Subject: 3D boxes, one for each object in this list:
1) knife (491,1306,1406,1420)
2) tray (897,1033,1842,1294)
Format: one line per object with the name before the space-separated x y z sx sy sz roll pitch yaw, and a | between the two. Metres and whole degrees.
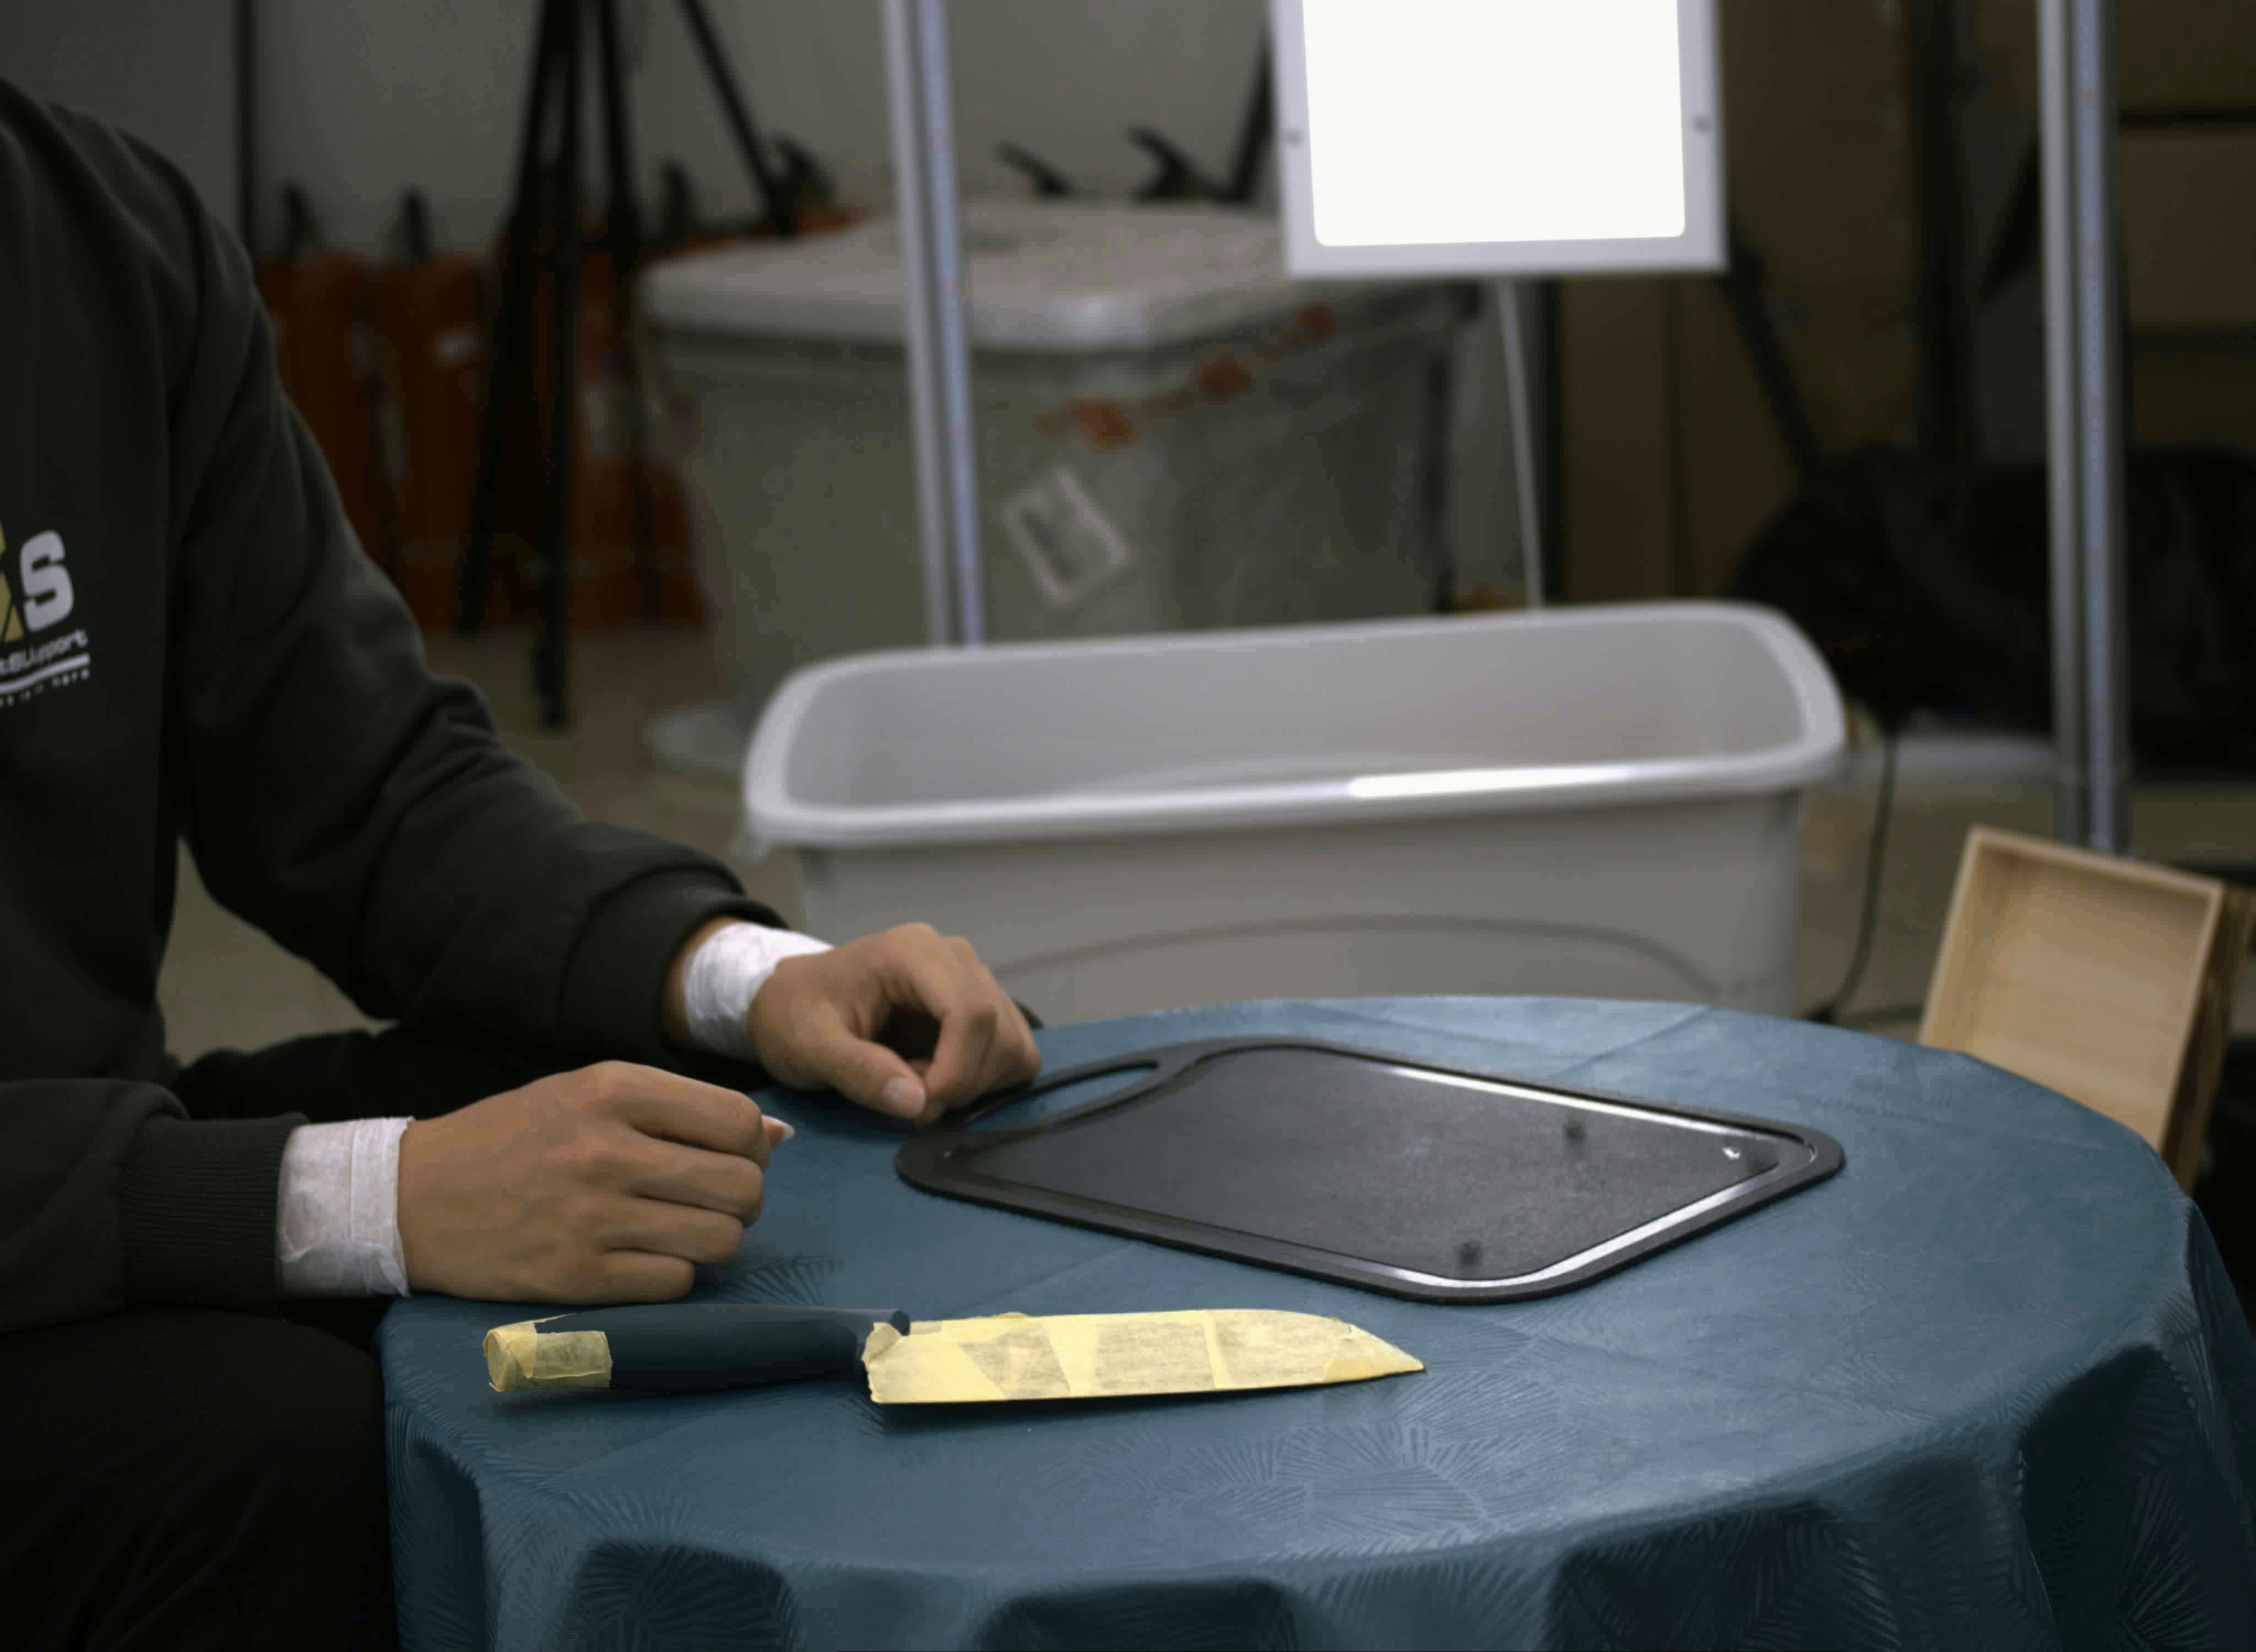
knife | -0.056 0.169 1.722 0.289 0.027 0.081 -4 12 3
tray | 0.074 0.112 1.918 0.206 0.010 0.332 -18 18 -42
